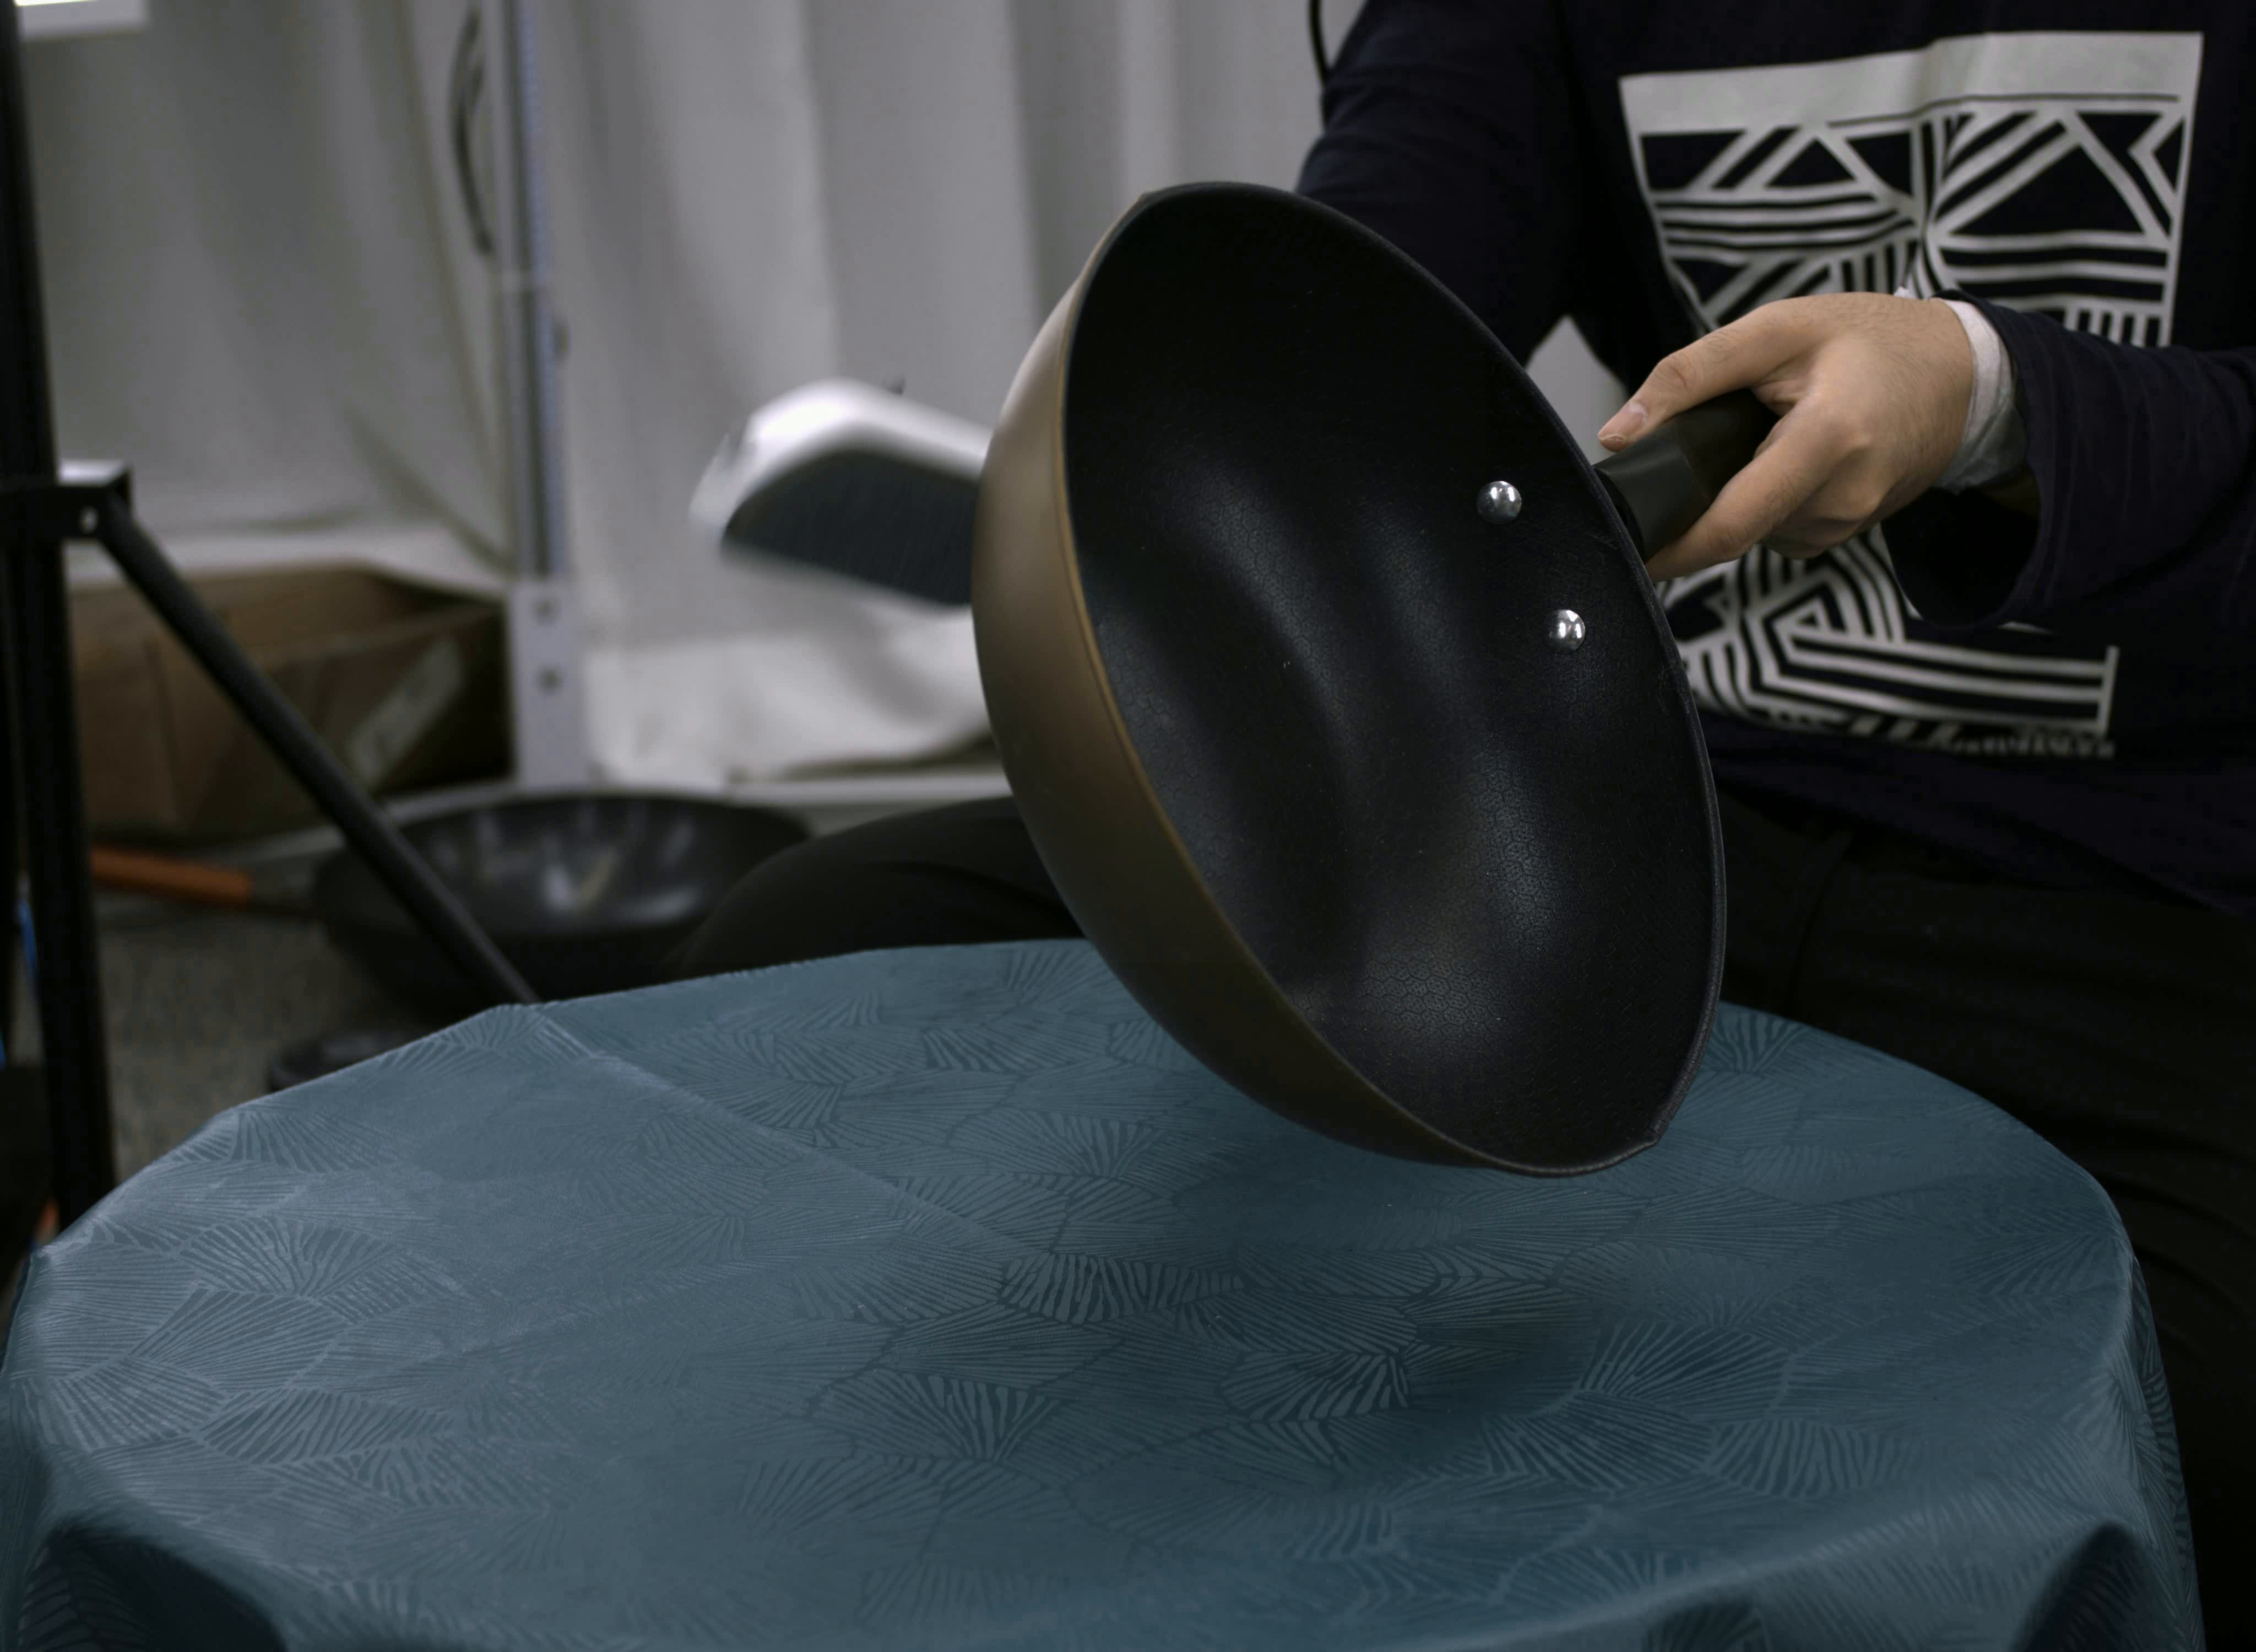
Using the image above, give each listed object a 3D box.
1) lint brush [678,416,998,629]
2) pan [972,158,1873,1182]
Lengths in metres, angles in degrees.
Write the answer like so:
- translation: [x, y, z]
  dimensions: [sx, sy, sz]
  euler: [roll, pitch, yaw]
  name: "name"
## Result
- translation: [-0.041, -0.081, 1.556]
  dimensions: [0.021, 0.060, 0.302]
  euler: [53, 18, 19]
  name: "lint brush"
- translation: [0.090, -0.060, 1.494]
  dimensions: [0.088, 0.288, 0.456]
  euler: [-24, 5, 35]
  name: "pan"
